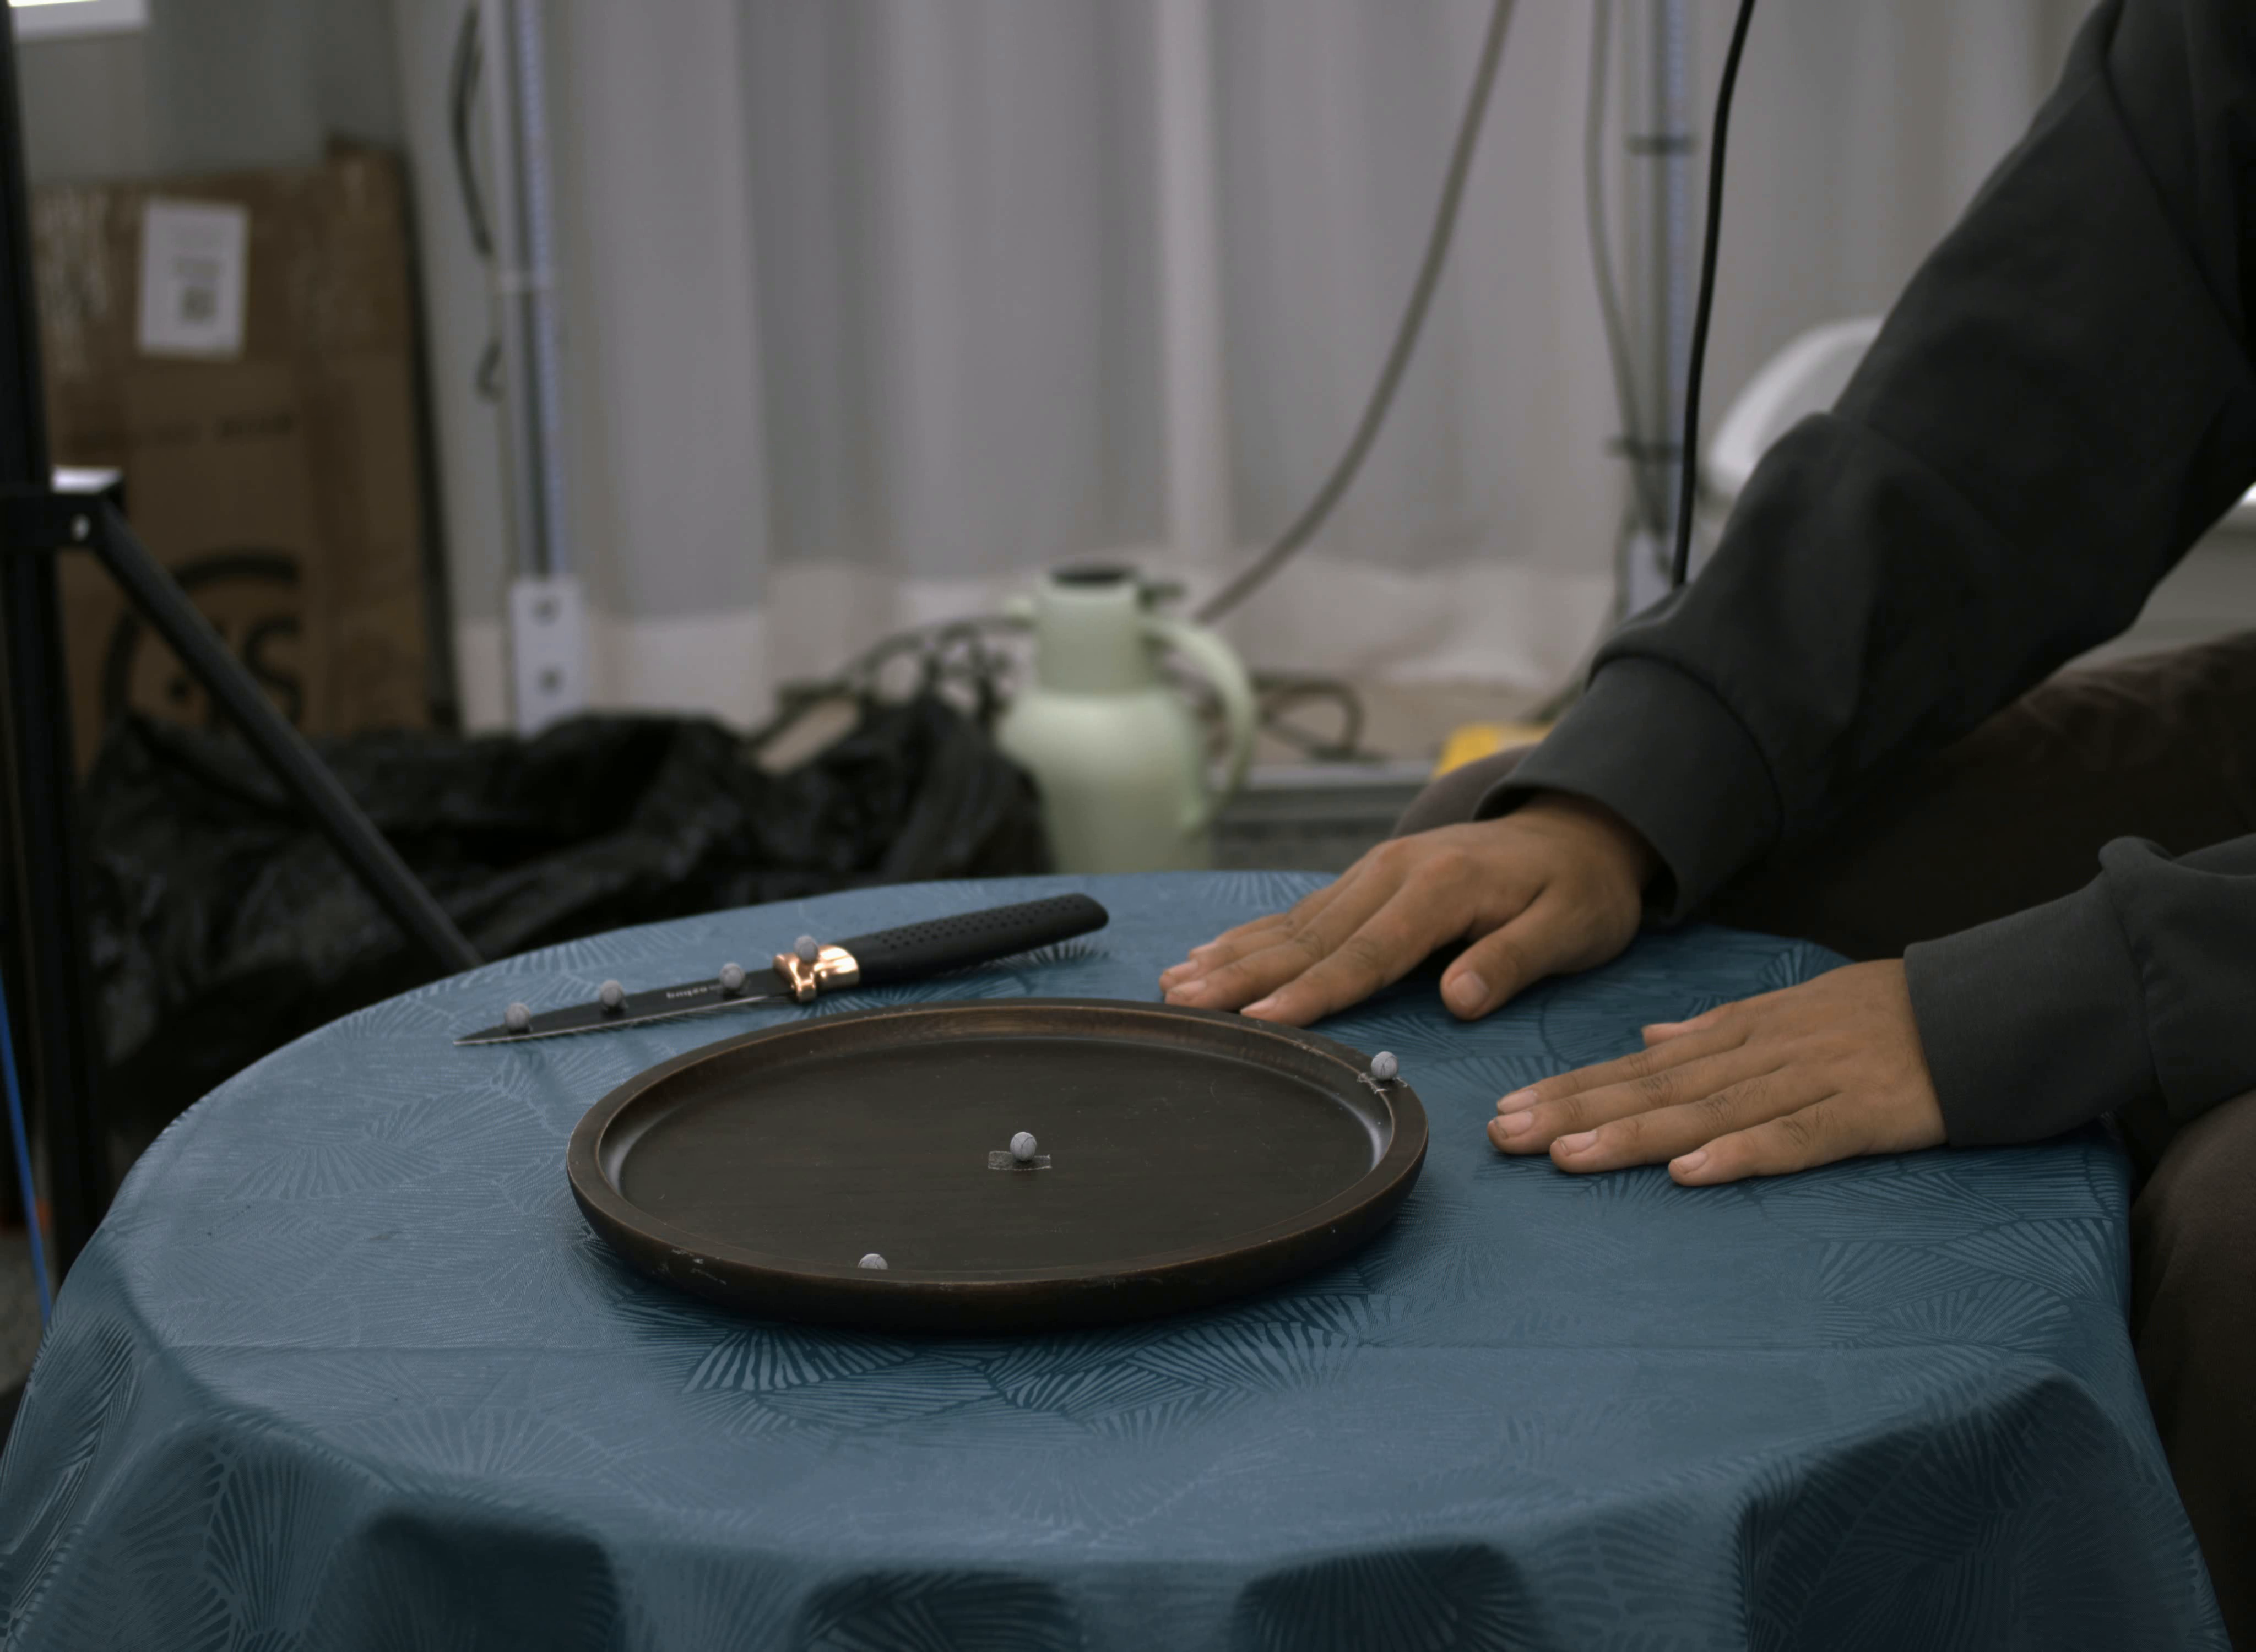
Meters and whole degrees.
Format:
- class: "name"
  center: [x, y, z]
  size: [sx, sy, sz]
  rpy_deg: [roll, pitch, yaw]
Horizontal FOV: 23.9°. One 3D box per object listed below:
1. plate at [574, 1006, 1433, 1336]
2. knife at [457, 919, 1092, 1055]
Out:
- class: "plate"
  center: [-0.036, 0.098, 1.555]
  size: [0.253, 0.029, 0.256]
  rpy_deg: [-2, 15, -1]
- class: "knife"
  center: [-0.113, 0.054, 1.747]
  size: [0.221, 0.017, 0.027]
  rpy_deg: [-9, 22, -19]
